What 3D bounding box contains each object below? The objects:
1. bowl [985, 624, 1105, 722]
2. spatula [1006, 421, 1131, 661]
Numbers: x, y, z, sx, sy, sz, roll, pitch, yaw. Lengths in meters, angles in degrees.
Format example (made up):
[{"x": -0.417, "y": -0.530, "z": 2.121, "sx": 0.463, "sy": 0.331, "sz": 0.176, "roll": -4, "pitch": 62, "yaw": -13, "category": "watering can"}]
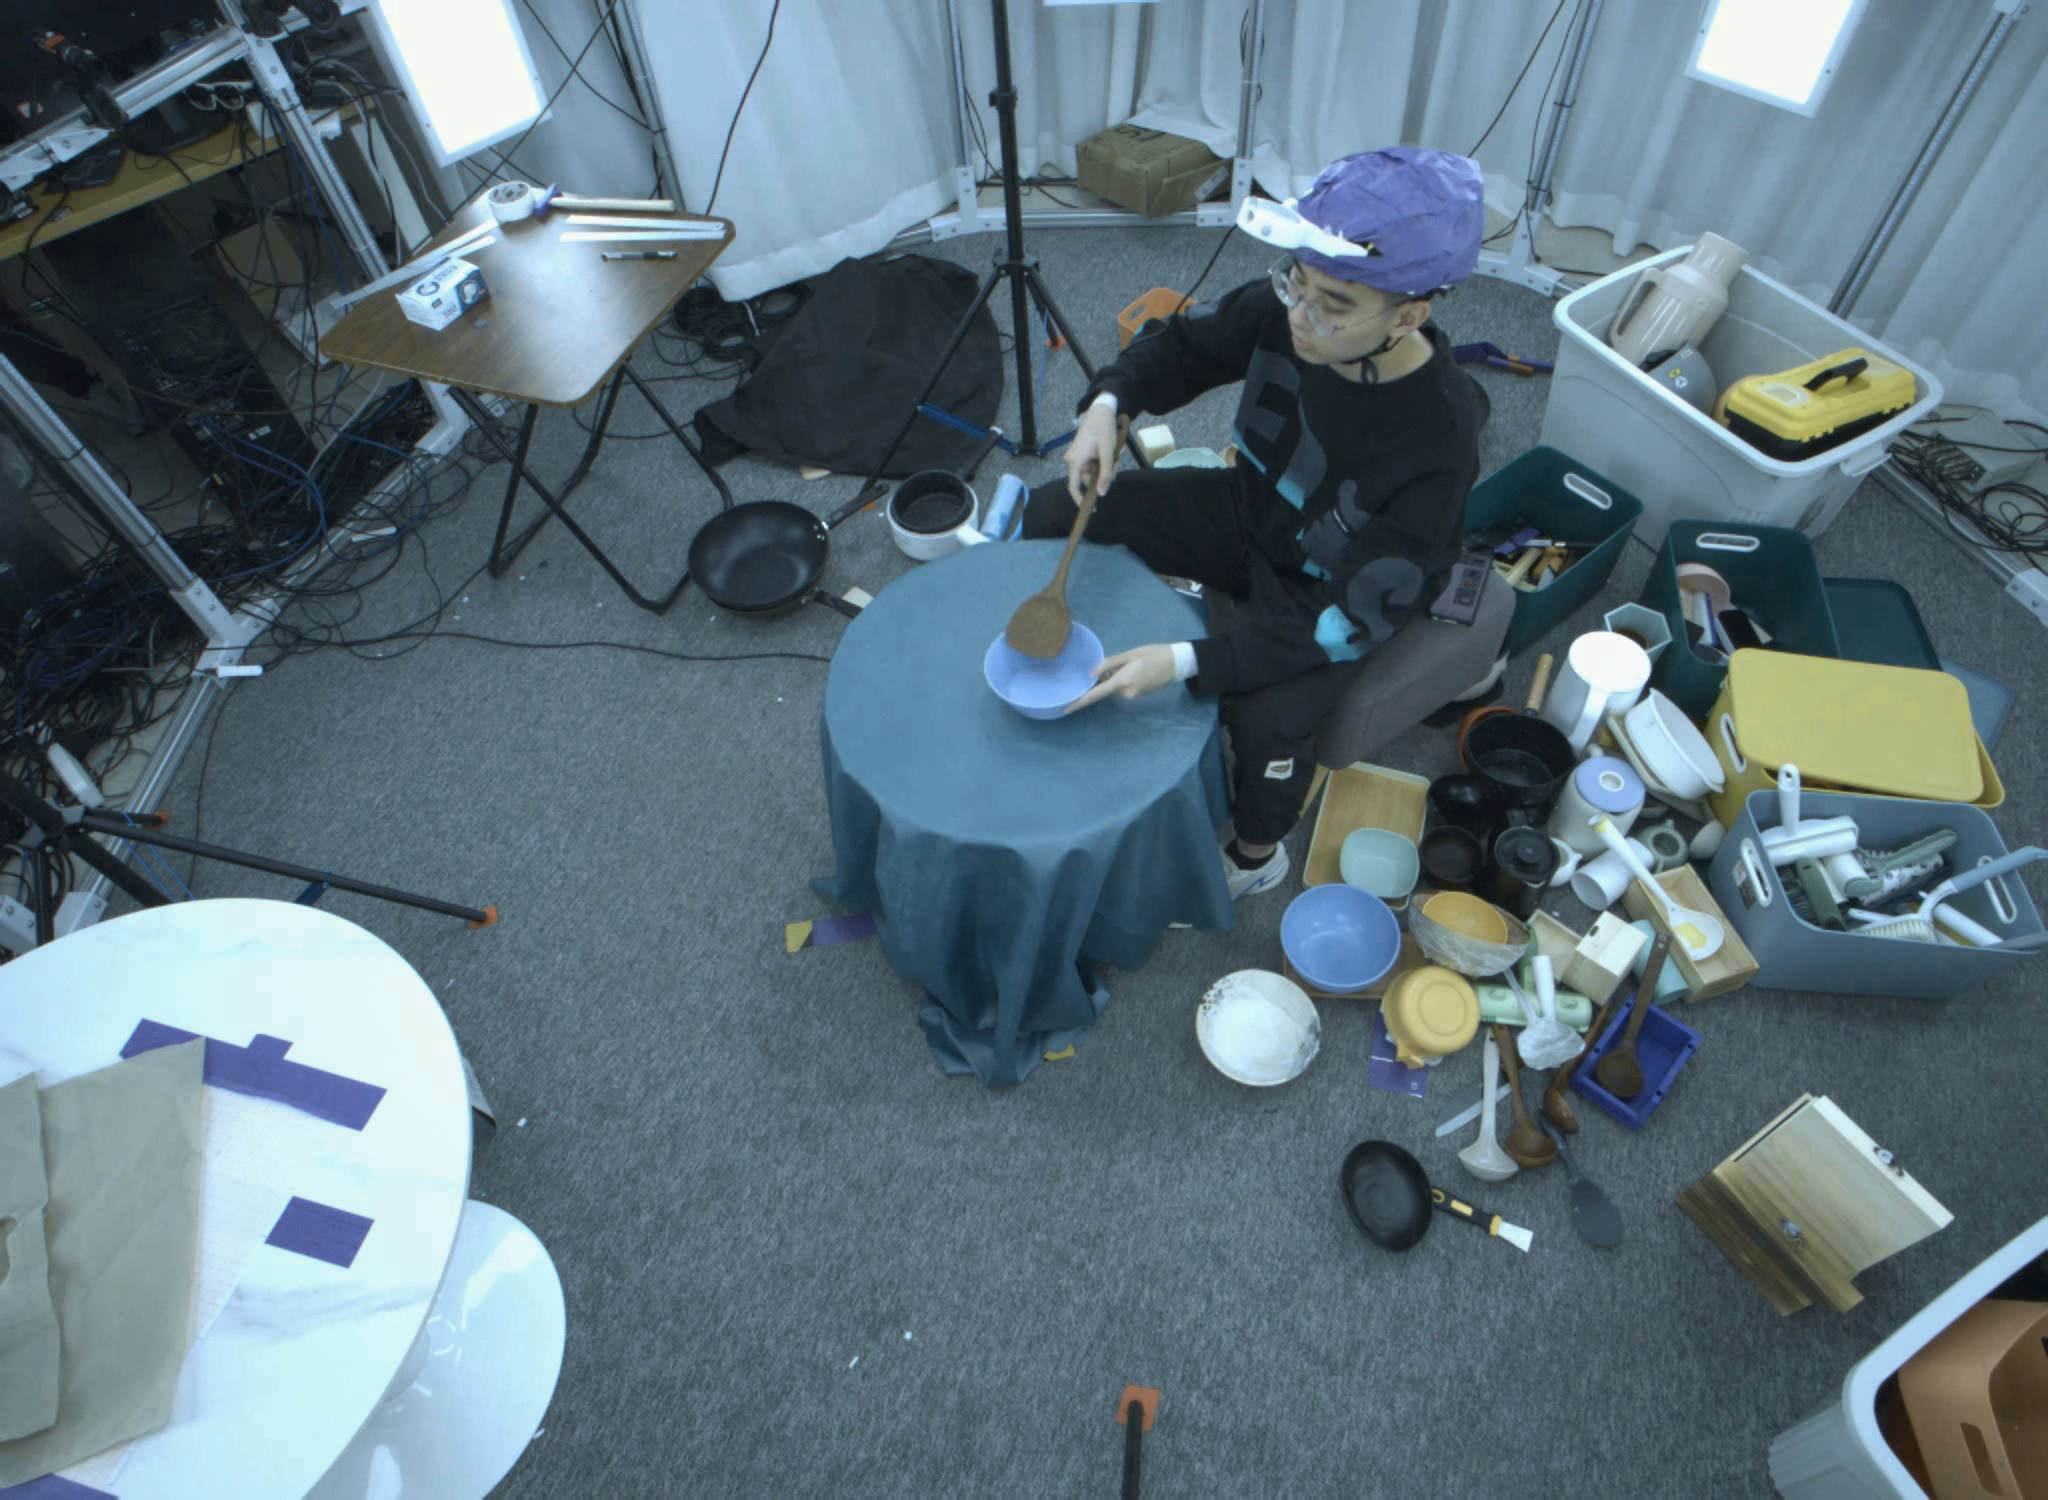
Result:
[{"x": 0.033, "y": -0.106, "z": 1.824, "sx": 0.176, "sy": 0.071, "sz": 0.174, "roll": -1, "pitch": 53, "yaw": 3, "category": "bowl"}, {"x": 0.079, "y": -0.317, "z": 1.823, "sx": 0.095, "sy": 0.016, "sz": 0.386, "roll": 22, "pitch": 92, "yaw": 17, "category": "spatula"}]
